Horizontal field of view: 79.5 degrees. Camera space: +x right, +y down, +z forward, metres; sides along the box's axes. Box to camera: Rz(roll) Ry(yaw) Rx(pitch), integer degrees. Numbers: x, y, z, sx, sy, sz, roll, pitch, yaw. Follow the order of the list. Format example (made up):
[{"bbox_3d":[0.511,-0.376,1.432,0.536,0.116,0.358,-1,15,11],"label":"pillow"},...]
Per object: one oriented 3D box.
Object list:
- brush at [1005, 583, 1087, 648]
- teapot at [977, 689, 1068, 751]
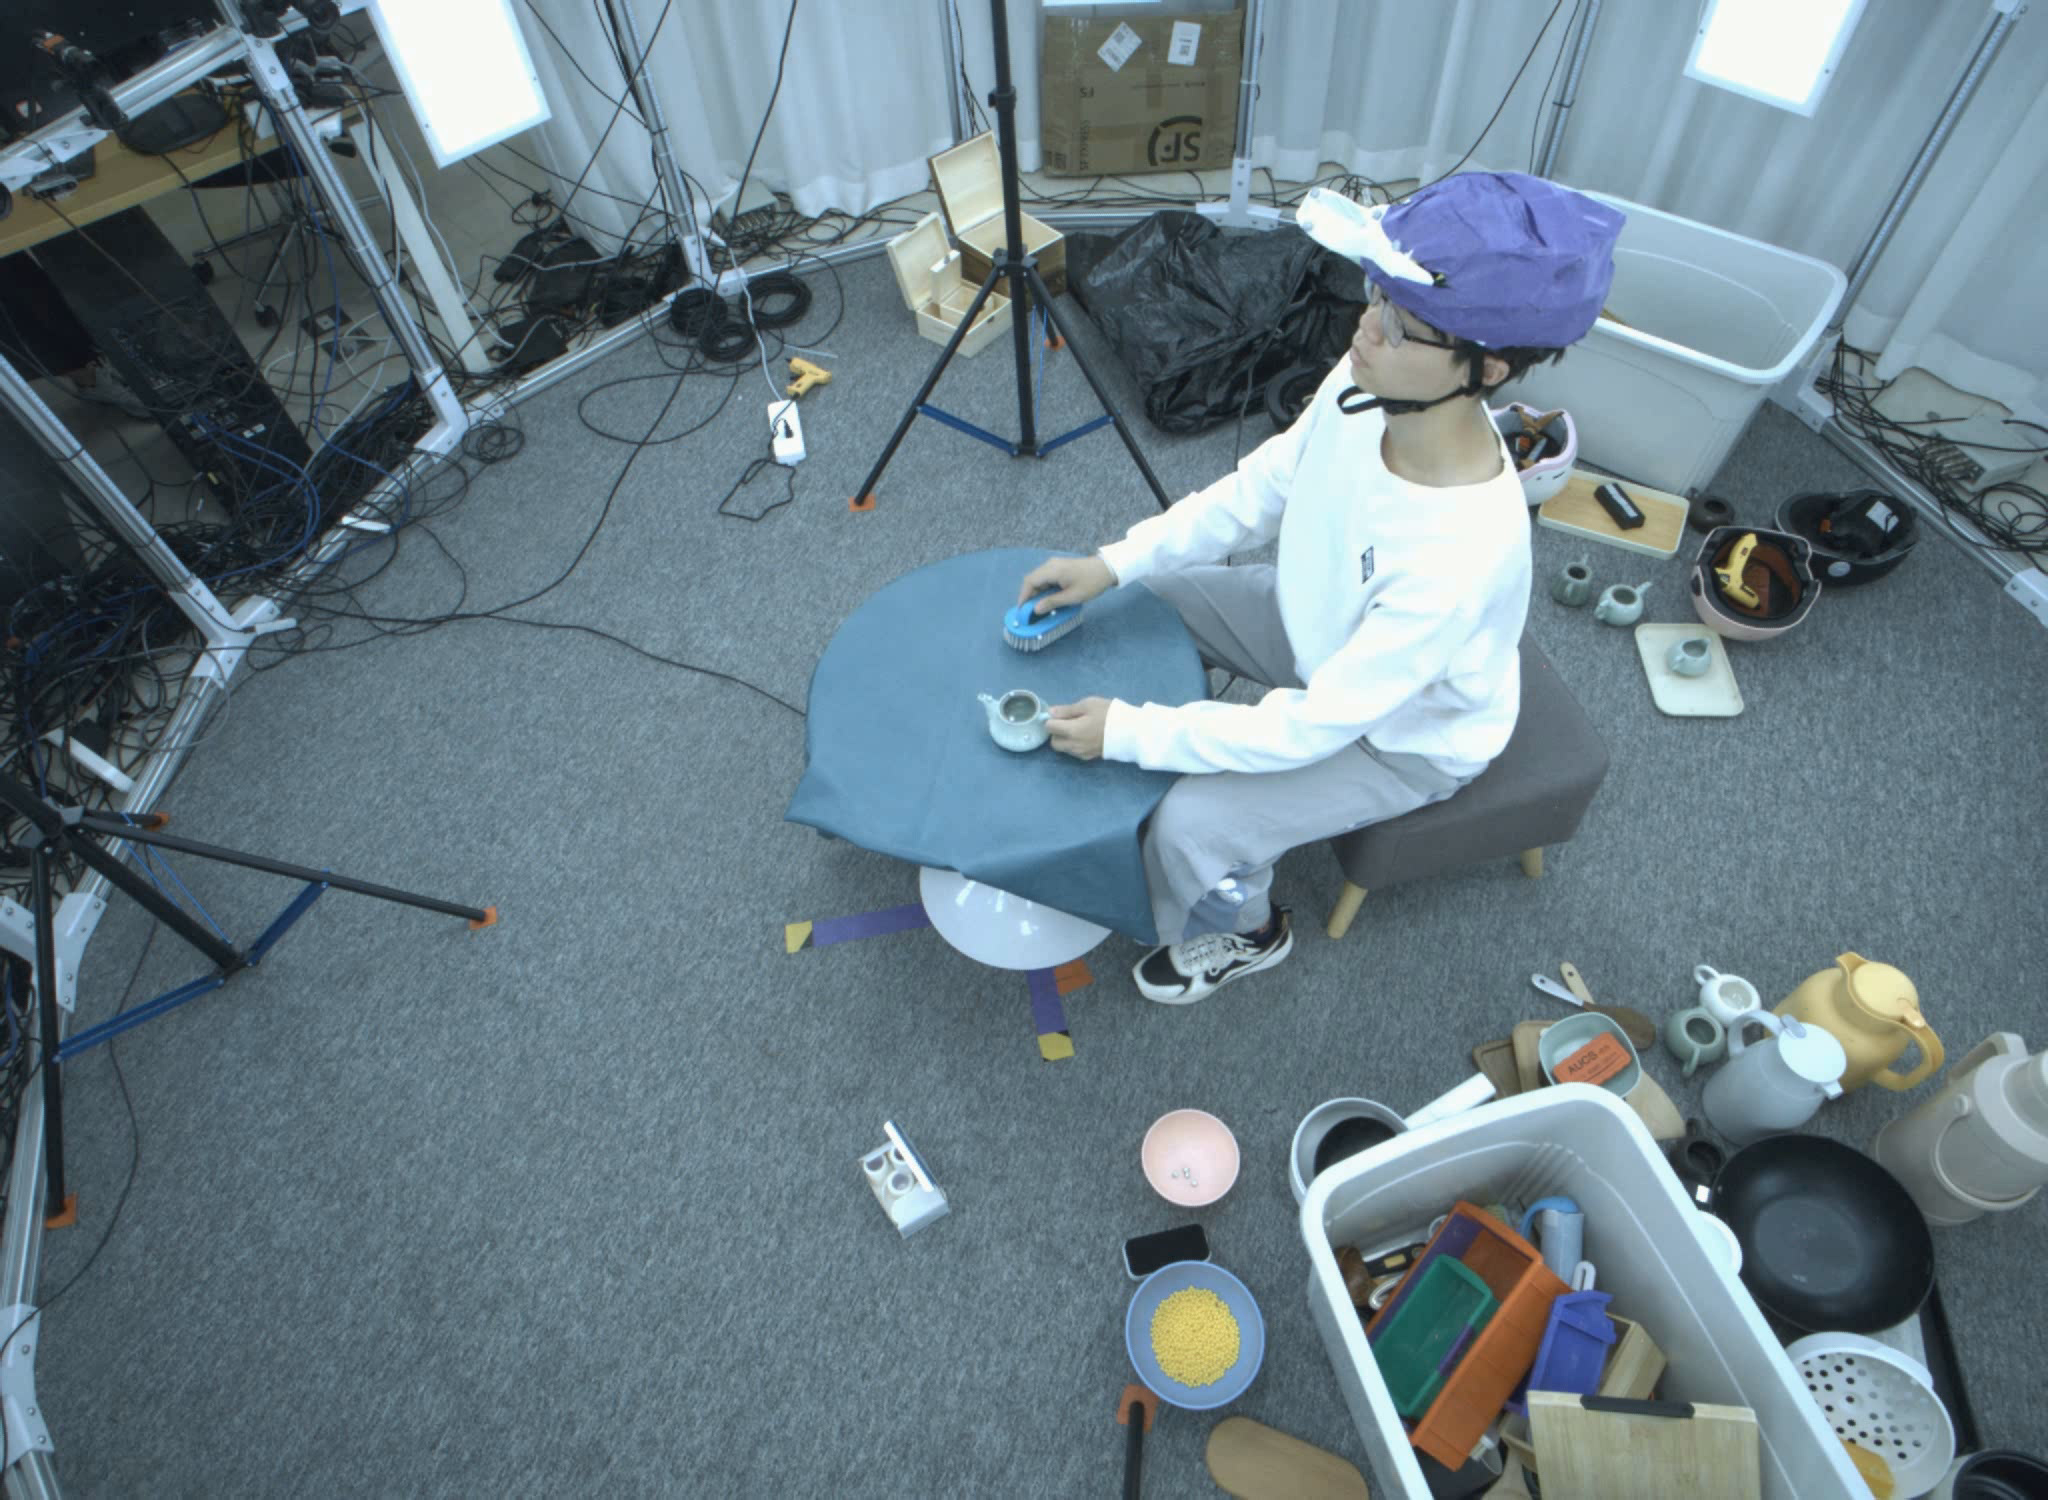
[{"bbox_3d":[0.031,-0.218,1.893,0.143,0.064,0.082,-32,51,-27],"label":"brush"},{"bbox_3d":[-0.001,-0.047,1.778,0.135,0.062,0.096,13,57,15],"label":"teapot"}]
